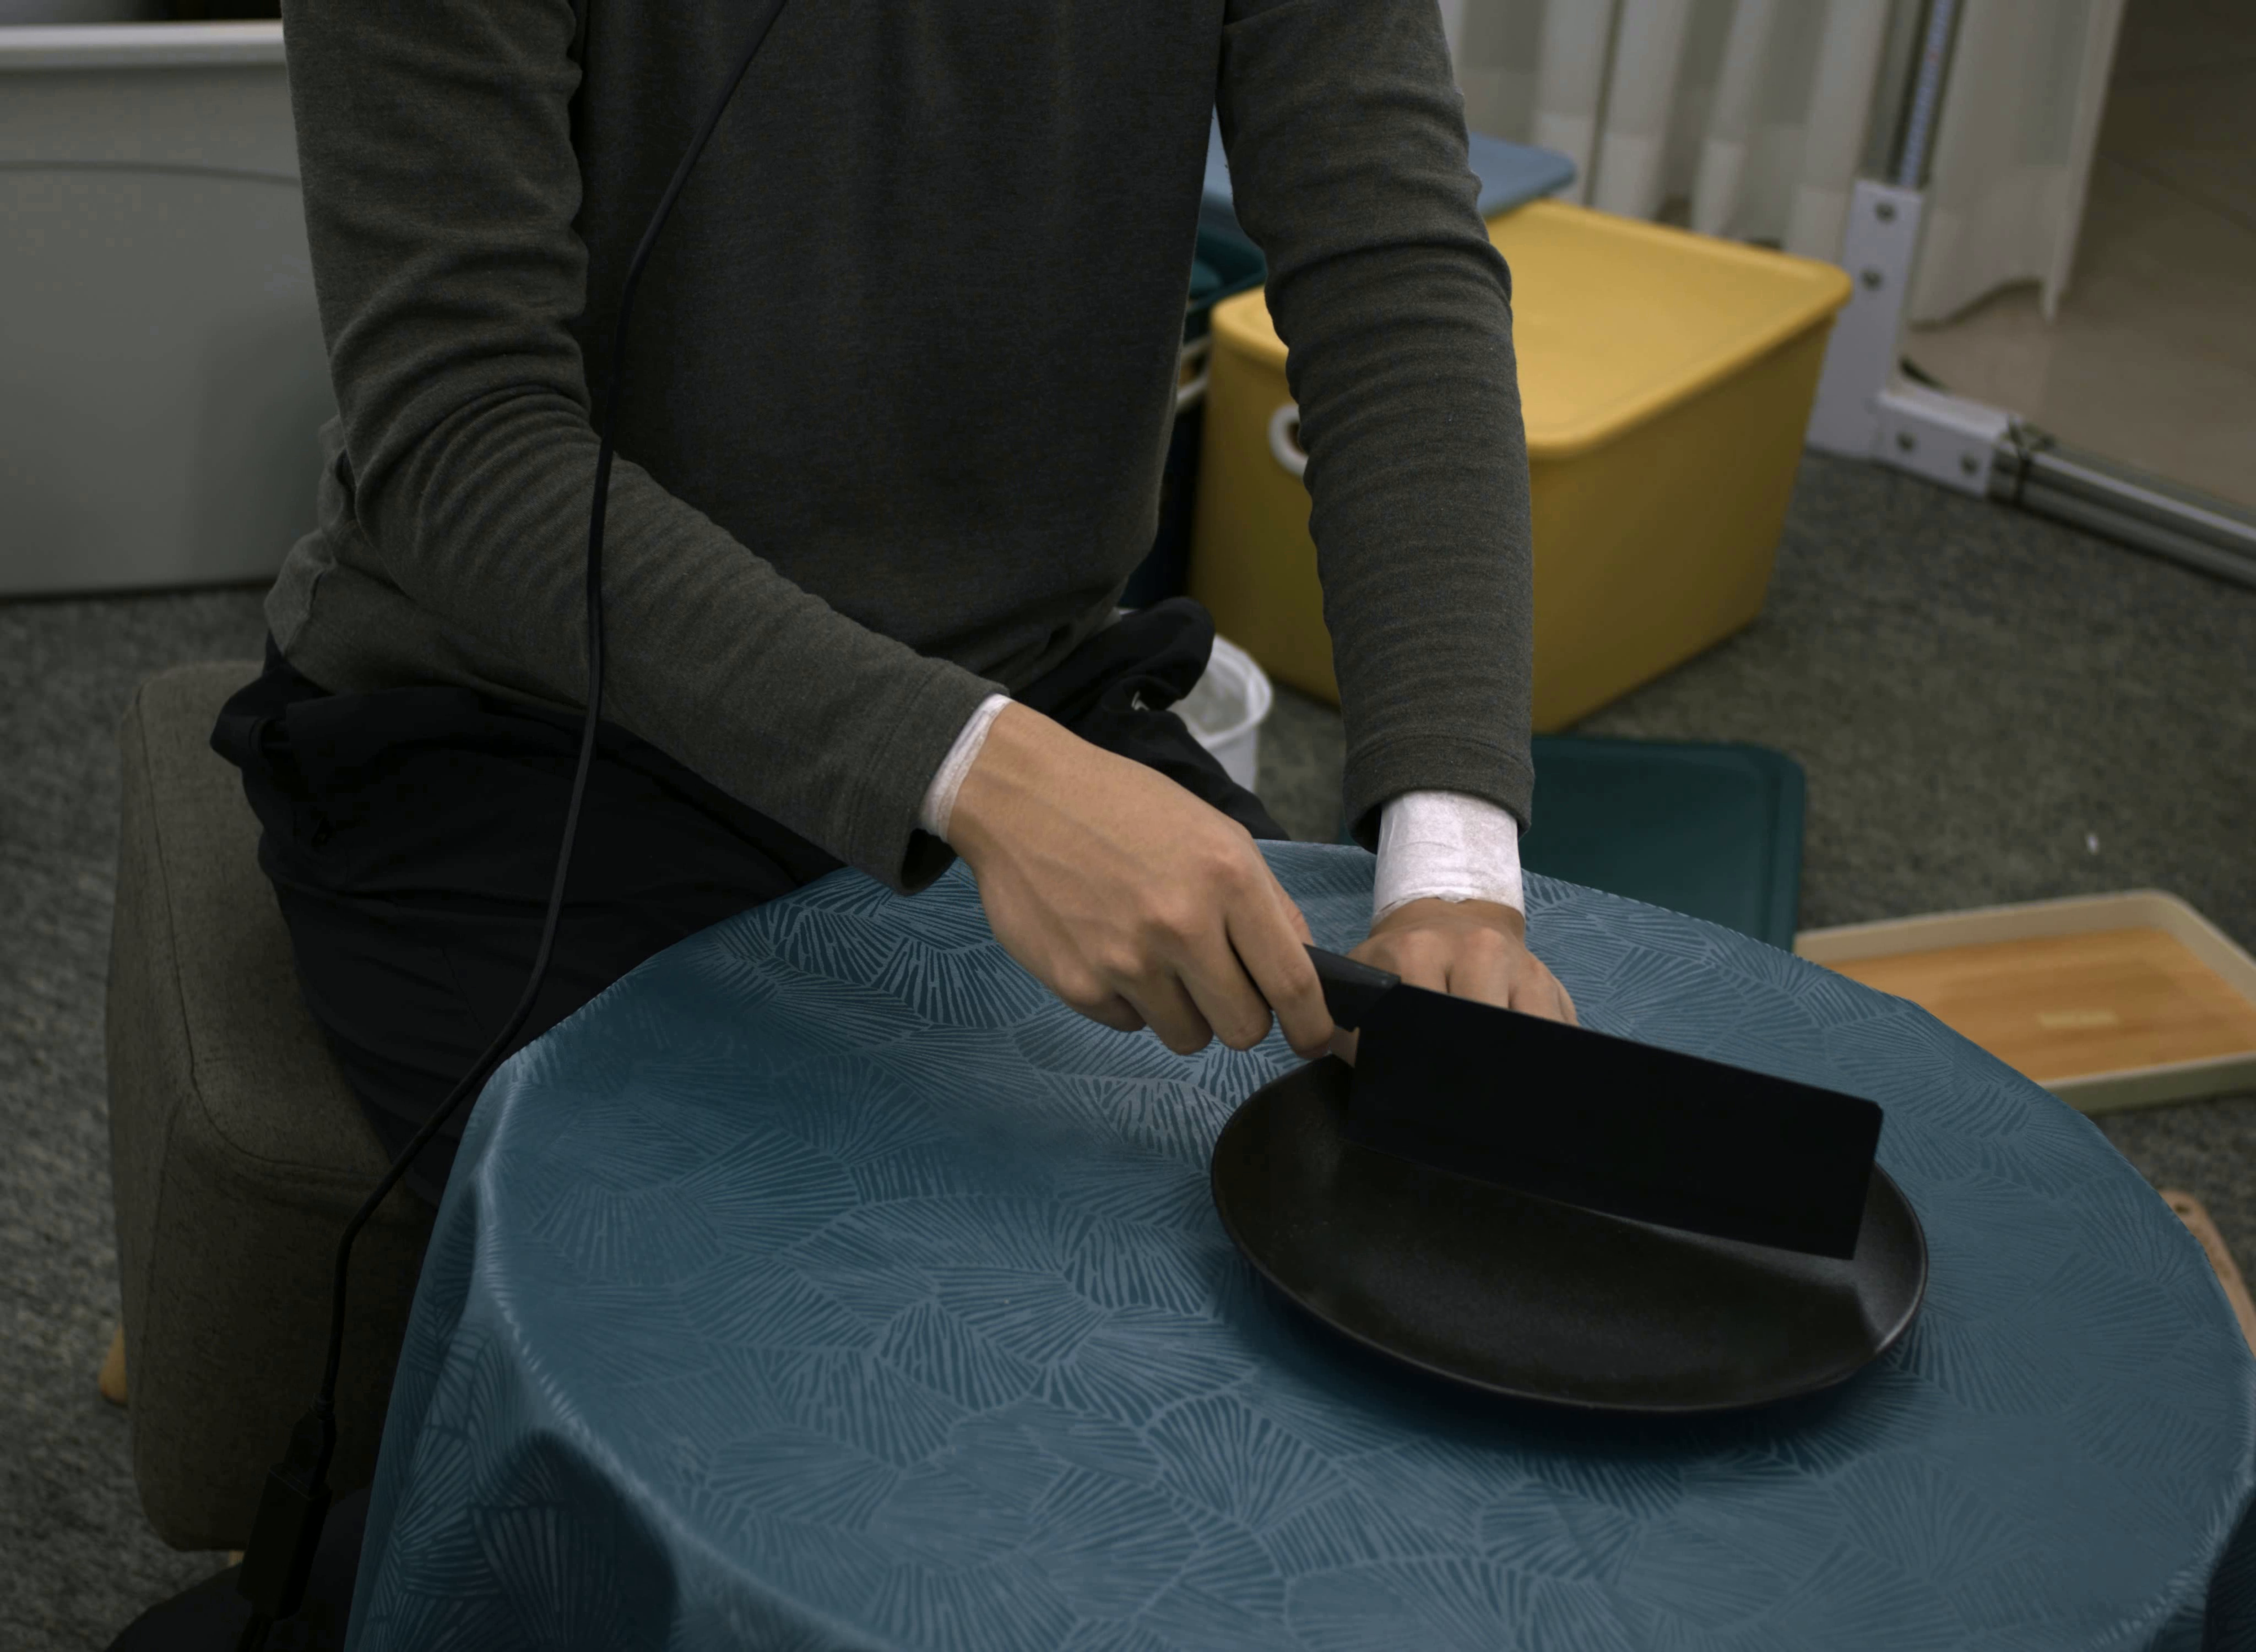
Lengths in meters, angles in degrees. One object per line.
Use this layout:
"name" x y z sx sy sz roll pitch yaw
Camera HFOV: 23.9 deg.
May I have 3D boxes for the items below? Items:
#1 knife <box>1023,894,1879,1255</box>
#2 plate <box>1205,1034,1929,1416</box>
"knife" 0.106 0.081 1.807 0.303 0.081 0.021 18 25 14
"plate" 0.146 0.137 1.786 0.243 0.023 0.246 5 27 -3
